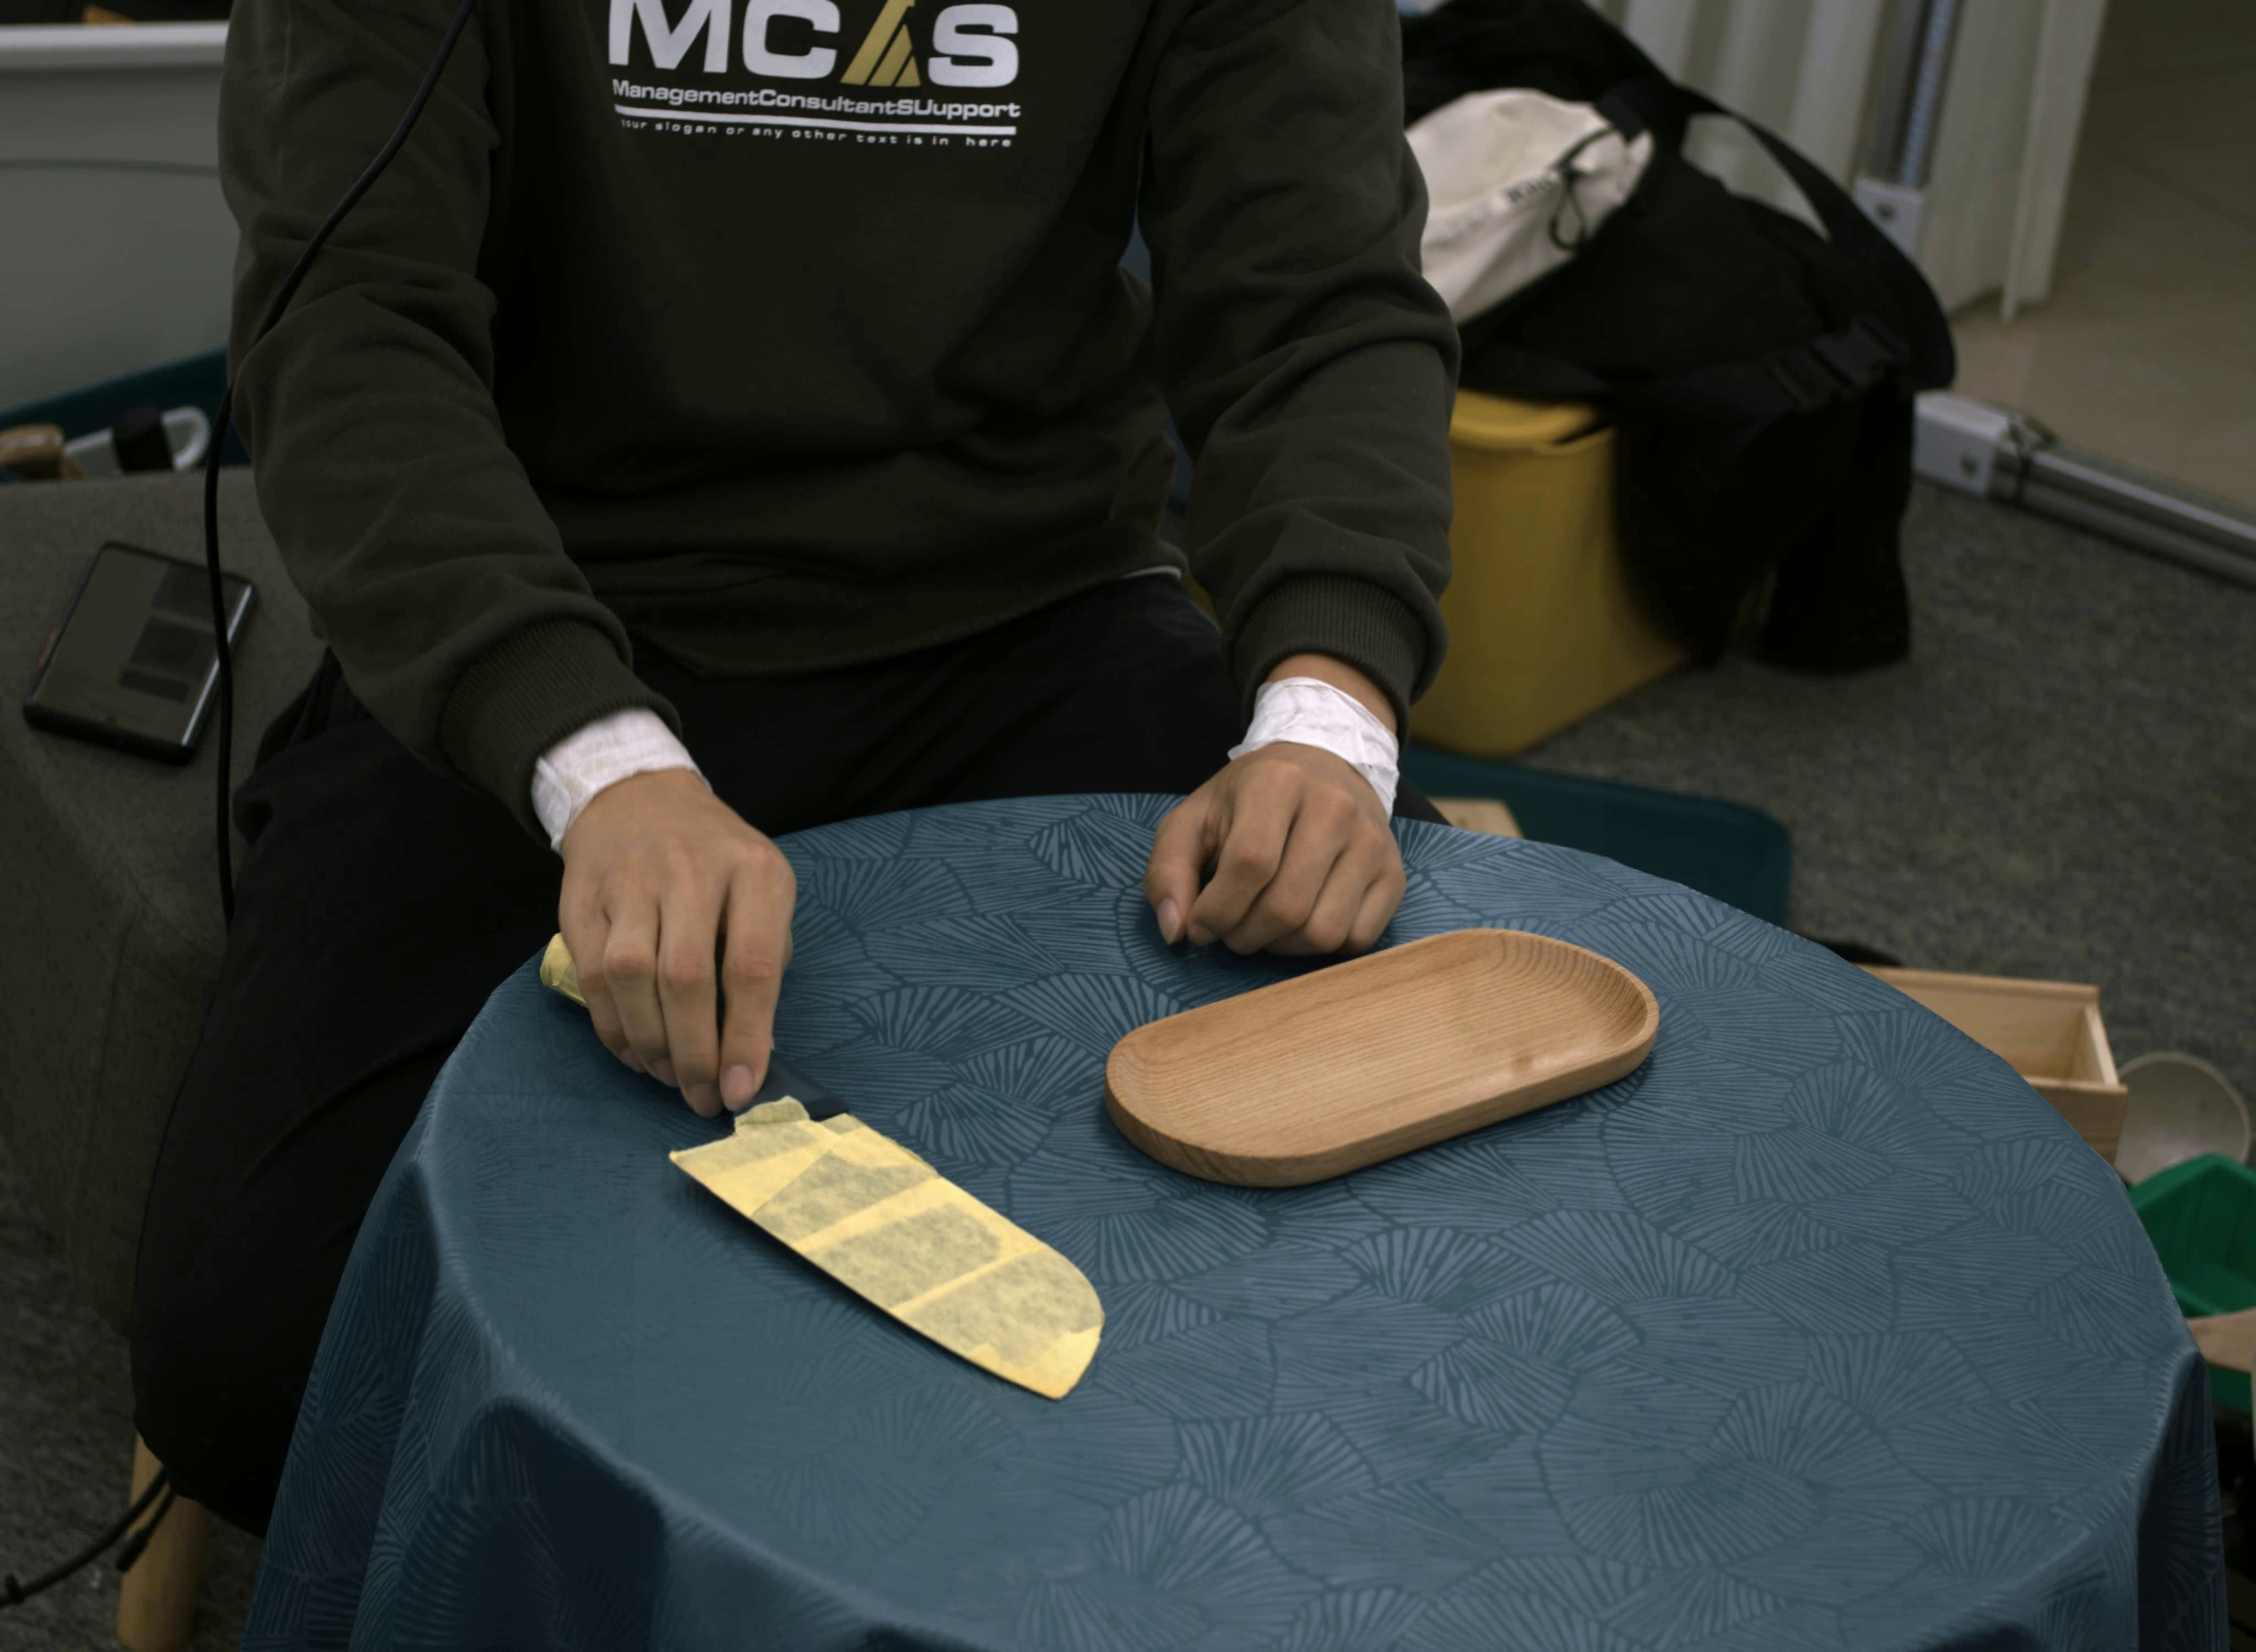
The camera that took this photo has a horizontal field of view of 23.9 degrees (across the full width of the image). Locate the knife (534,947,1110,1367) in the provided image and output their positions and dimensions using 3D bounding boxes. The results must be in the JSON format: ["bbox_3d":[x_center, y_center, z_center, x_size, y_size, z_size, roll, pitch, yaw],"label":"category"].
[{"bbox_3d":[-0.112,0.111,1.784,0.080,0.027,0.292,-14,34,-43],"label":"knife"}]

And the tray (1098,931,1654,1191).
[{"bbox_3d":[0.090,0.083,1.889,0.230,0.020,0.102,-17,34,-36],"label":"tray"}]
